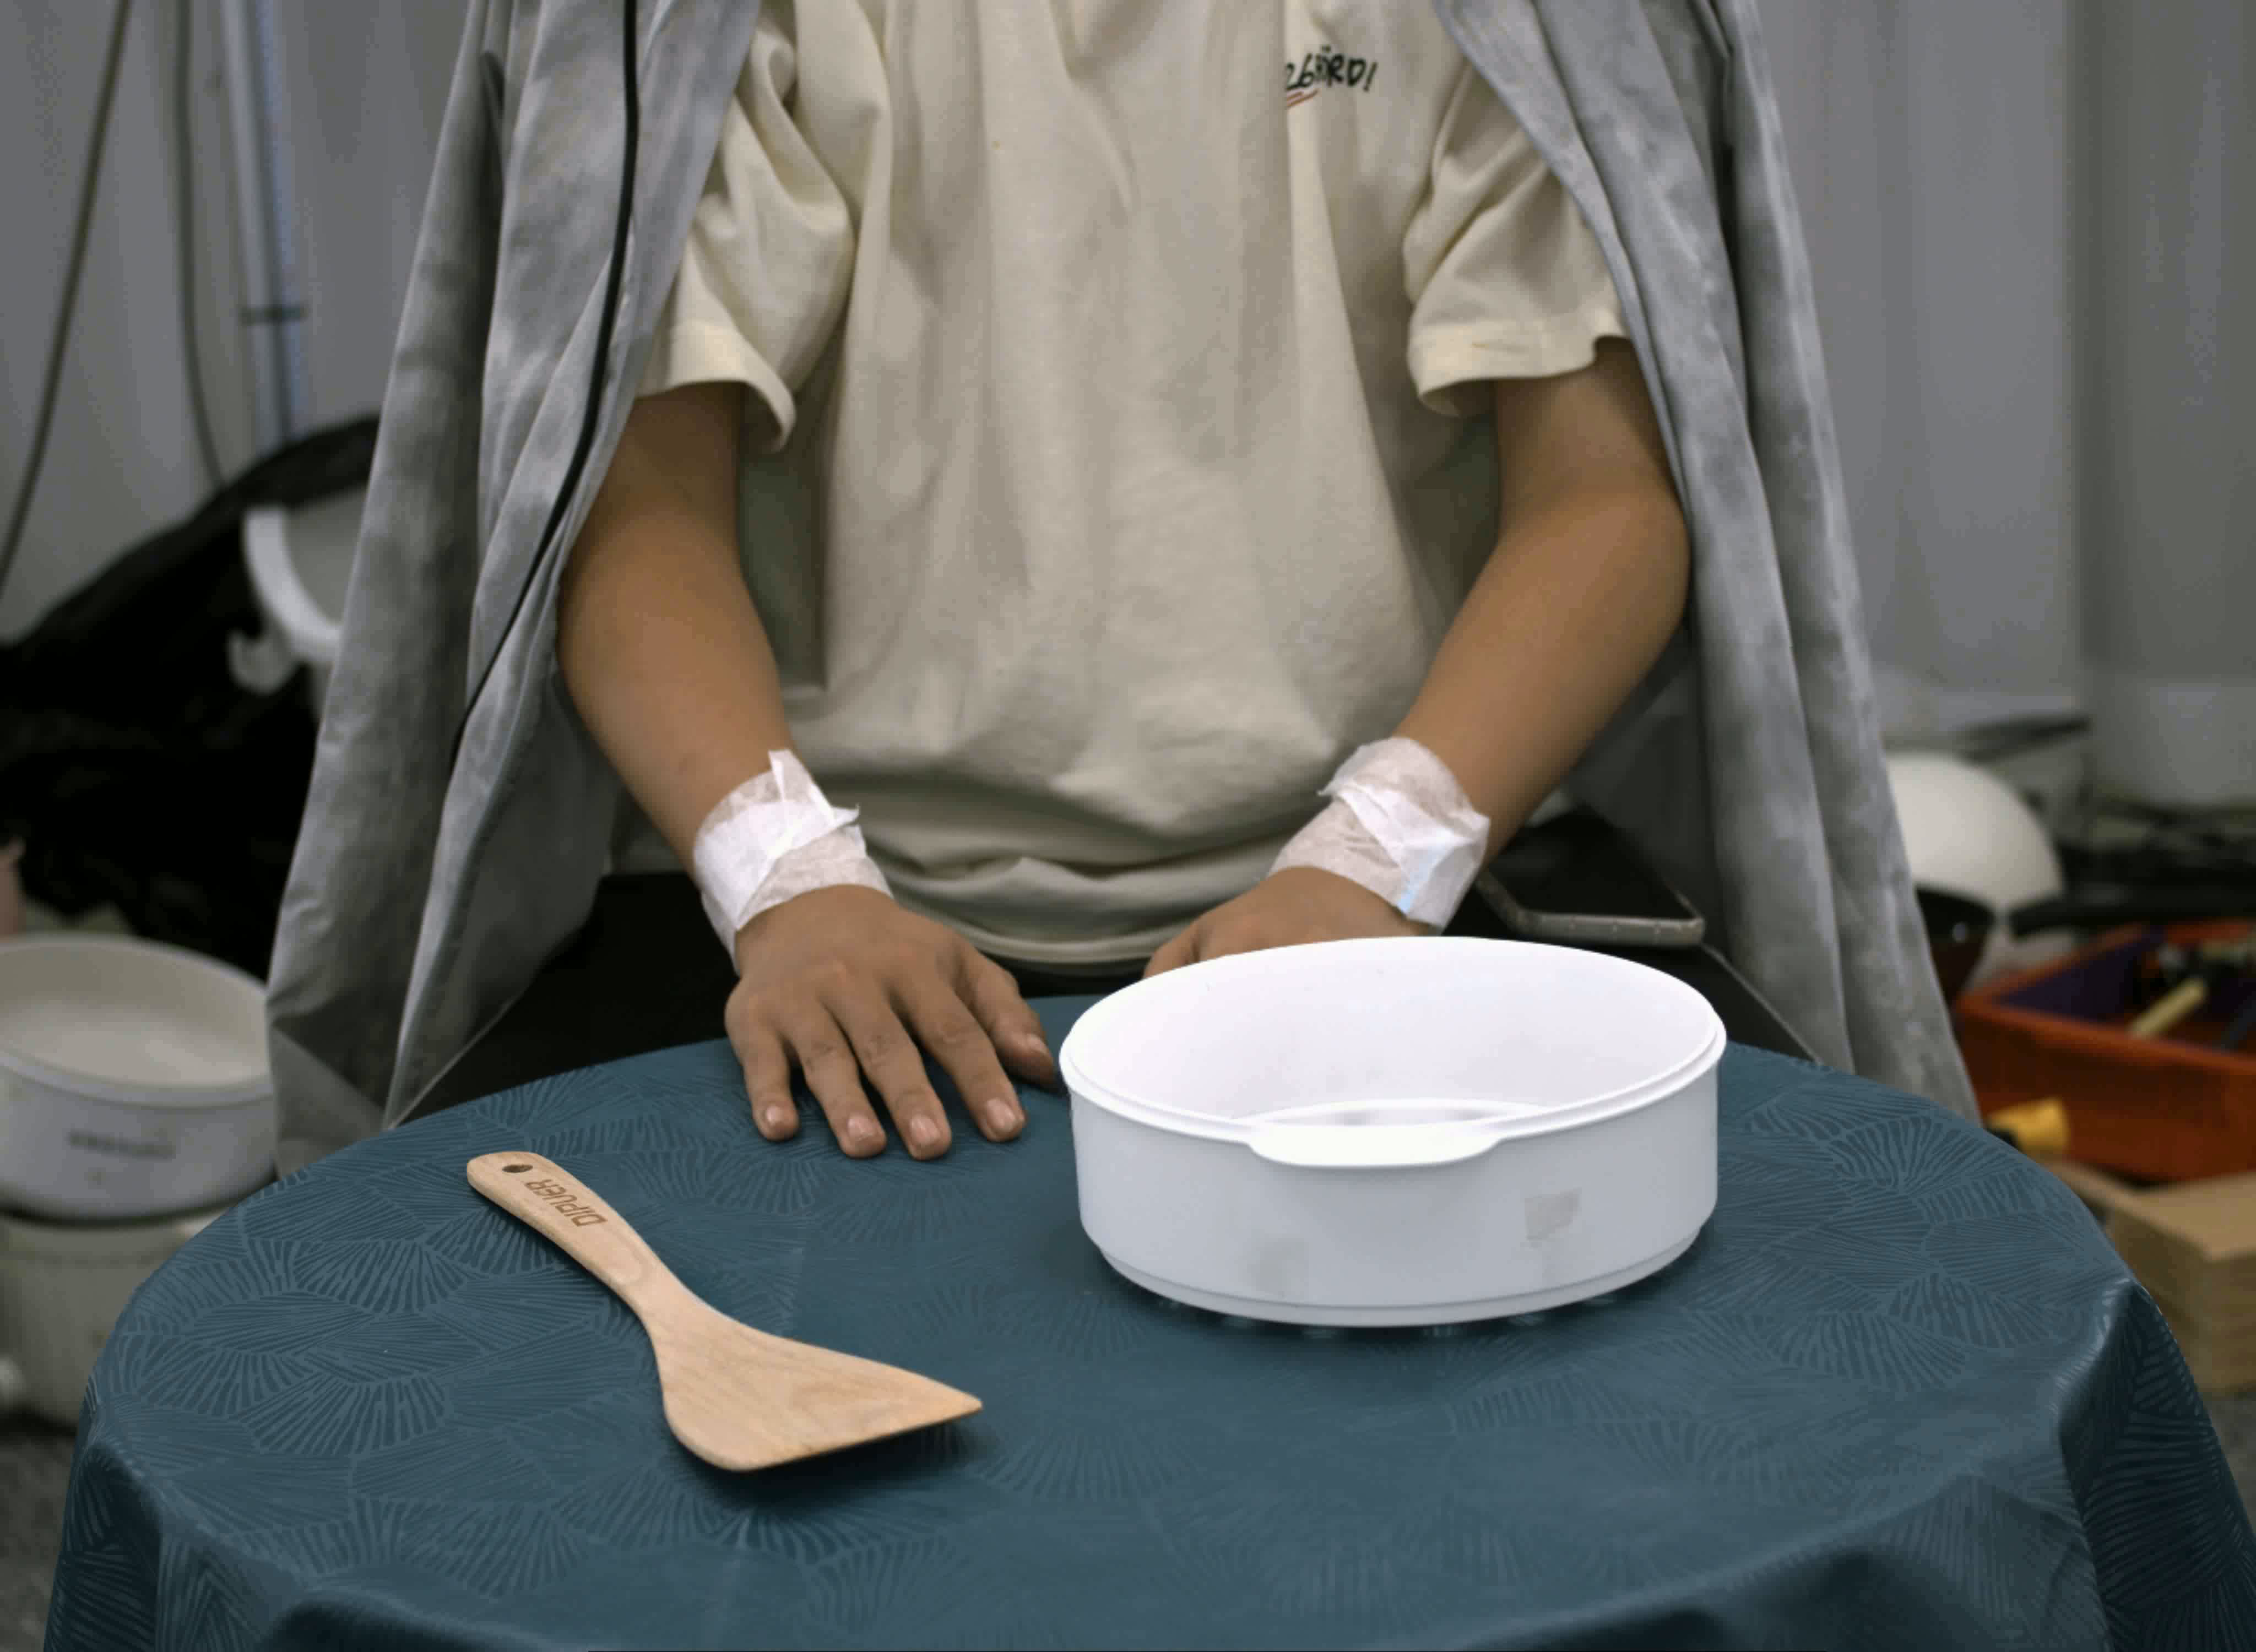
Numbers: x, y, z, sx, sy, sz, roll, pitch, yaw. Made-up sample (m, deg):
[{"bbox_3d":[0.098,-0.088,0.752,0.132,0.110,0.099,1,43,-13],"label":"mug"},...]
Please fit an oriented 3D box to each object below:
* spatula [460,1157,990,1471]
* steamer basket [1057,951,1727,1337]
[{"bbox_3d":[-0.135,0.139,1.619,0.079,0.016,0.330,-9,16,-24],"label":"spatula"},{"bbox_3d":[0.080,0.095,1.651,0.201,0.069,0.232,0,14,7],"label":"steamer basket"}]
